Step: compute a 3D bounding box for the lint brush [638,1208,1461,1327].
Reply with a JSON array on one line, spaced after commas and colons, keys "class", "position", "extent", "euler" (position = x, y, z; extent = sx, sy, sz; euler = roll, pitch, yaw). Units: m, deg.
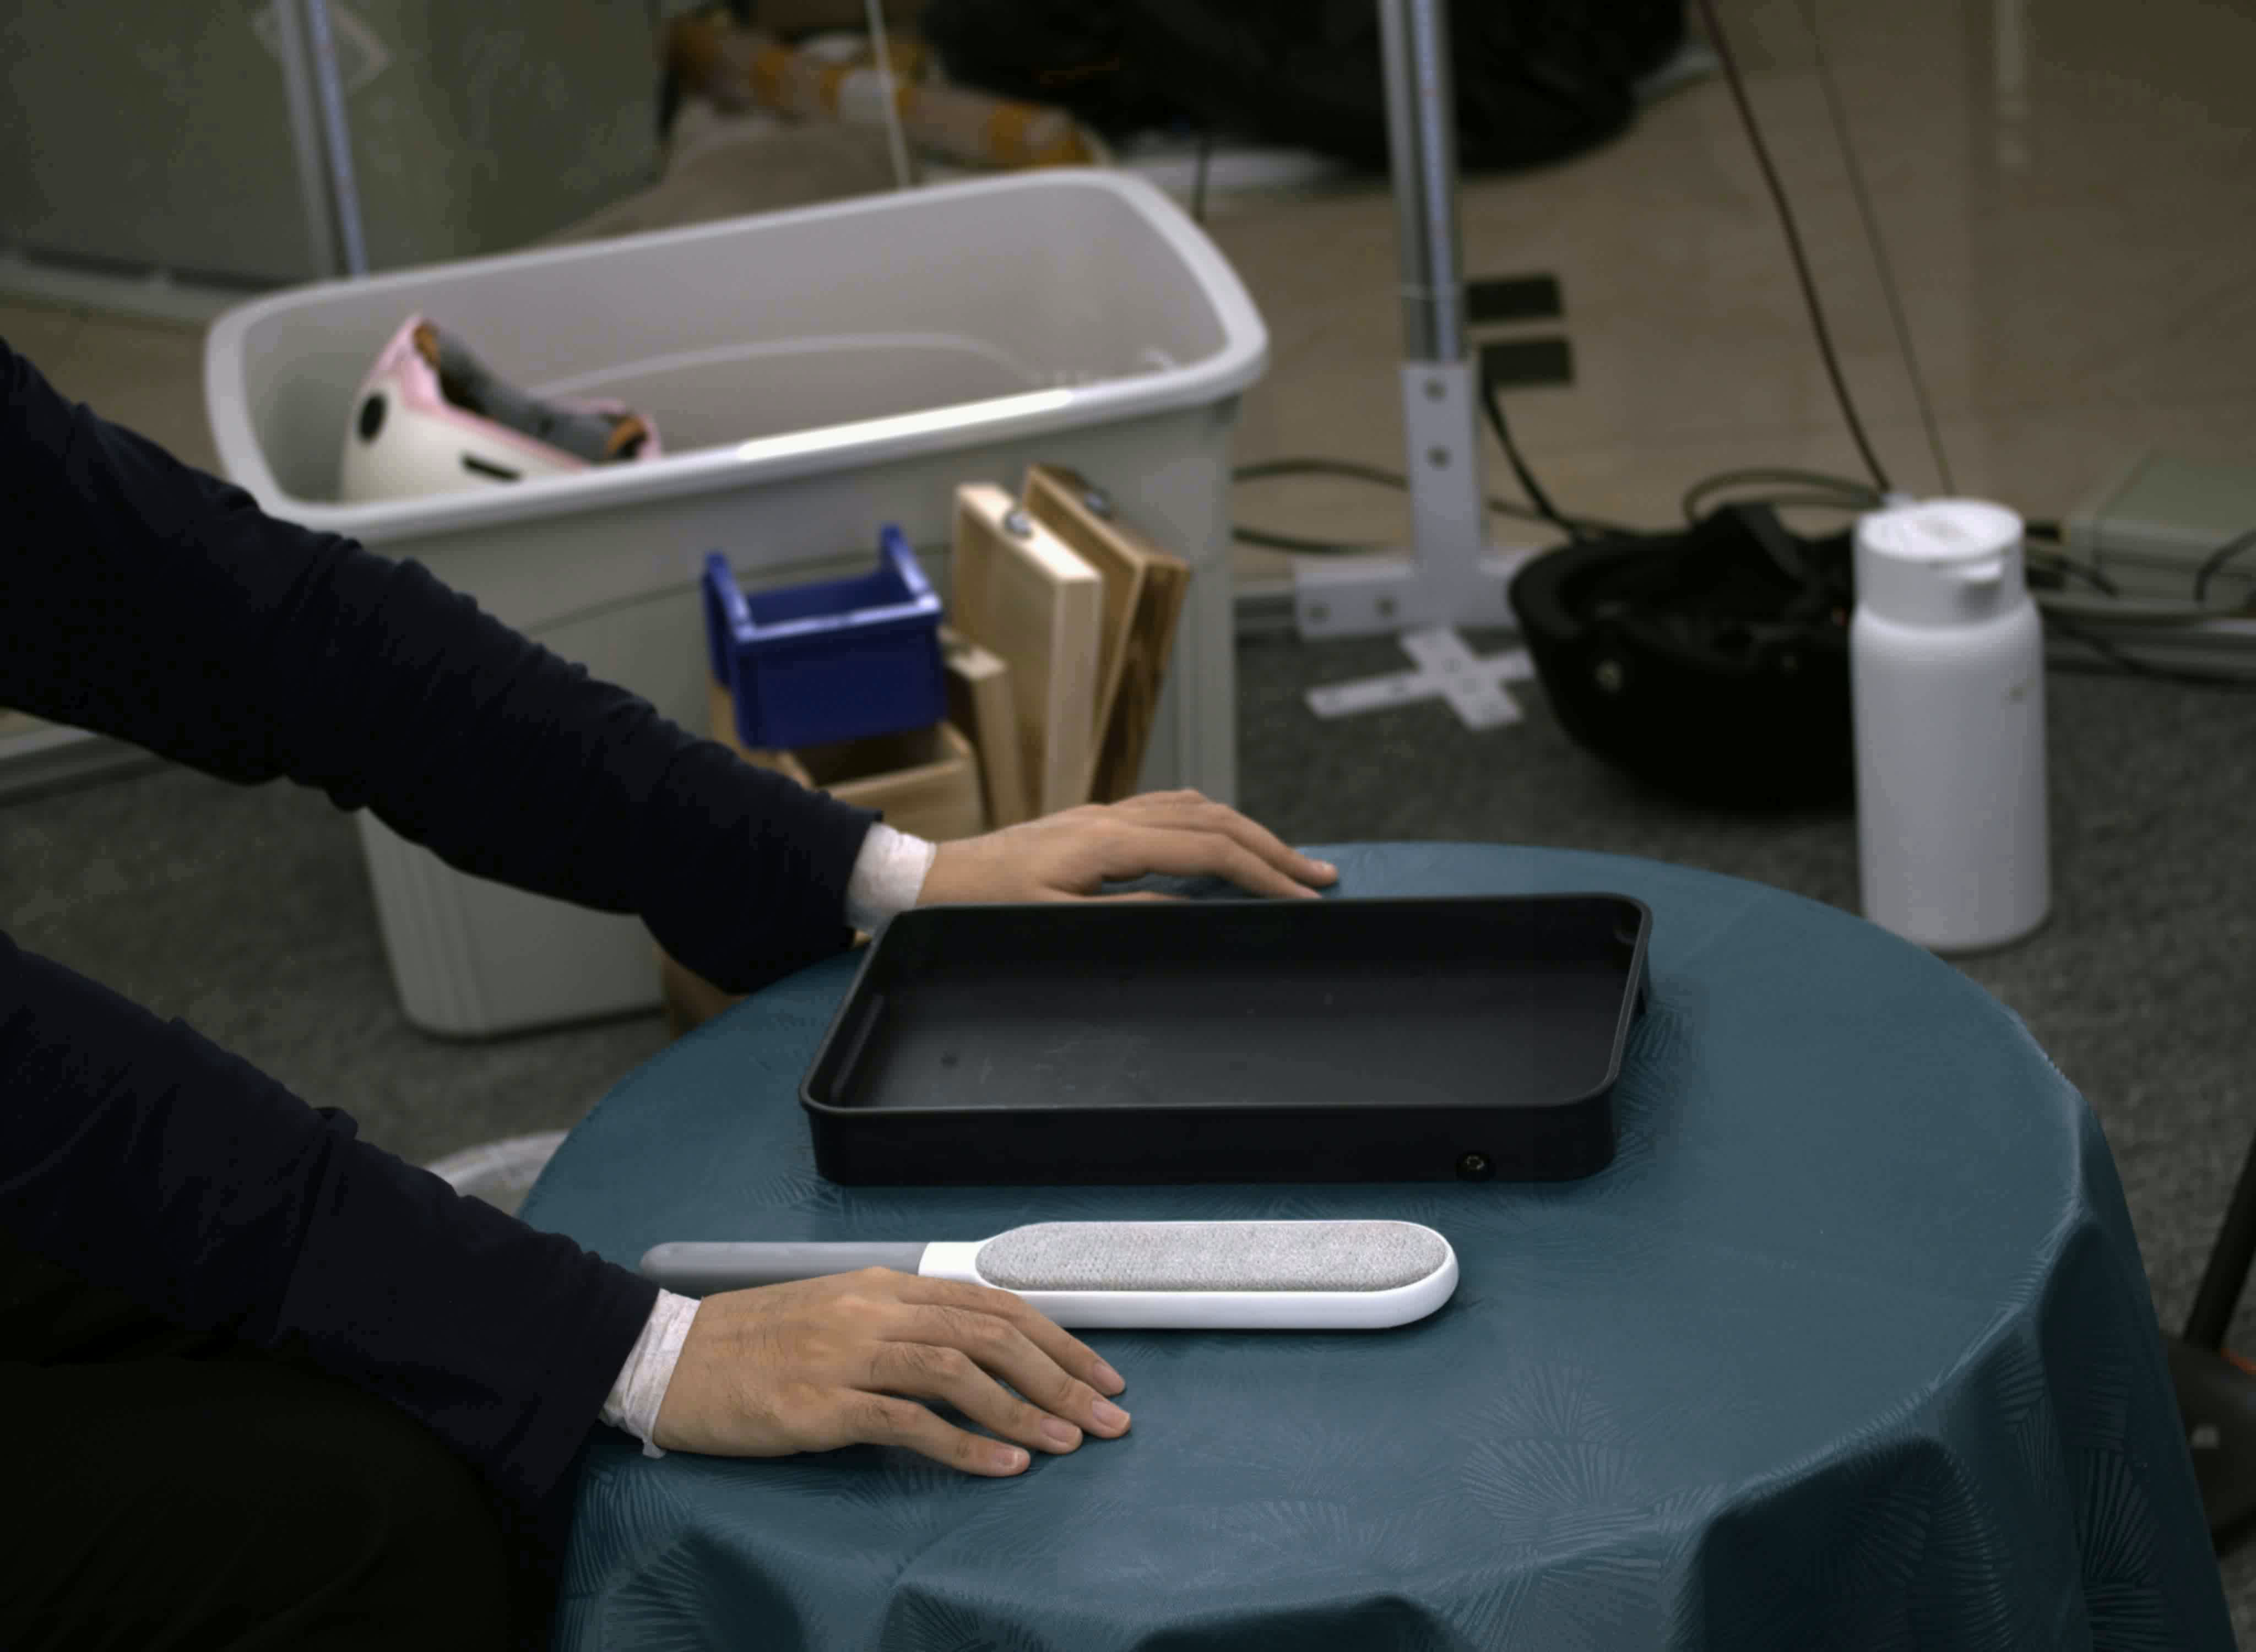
[{"class": "lint brush", "position": [-0.032, 0.161, 2.080], "extent": [0.308, 0.021, 0.059], "euler": [0, 31, 13]}]

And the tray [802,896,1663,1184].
[{"class": "tray", "position": [0.044, 0.082, 2.221], "extent": [0.317, 0.037, 0.181], "euler": [0, 25, 13]}]
